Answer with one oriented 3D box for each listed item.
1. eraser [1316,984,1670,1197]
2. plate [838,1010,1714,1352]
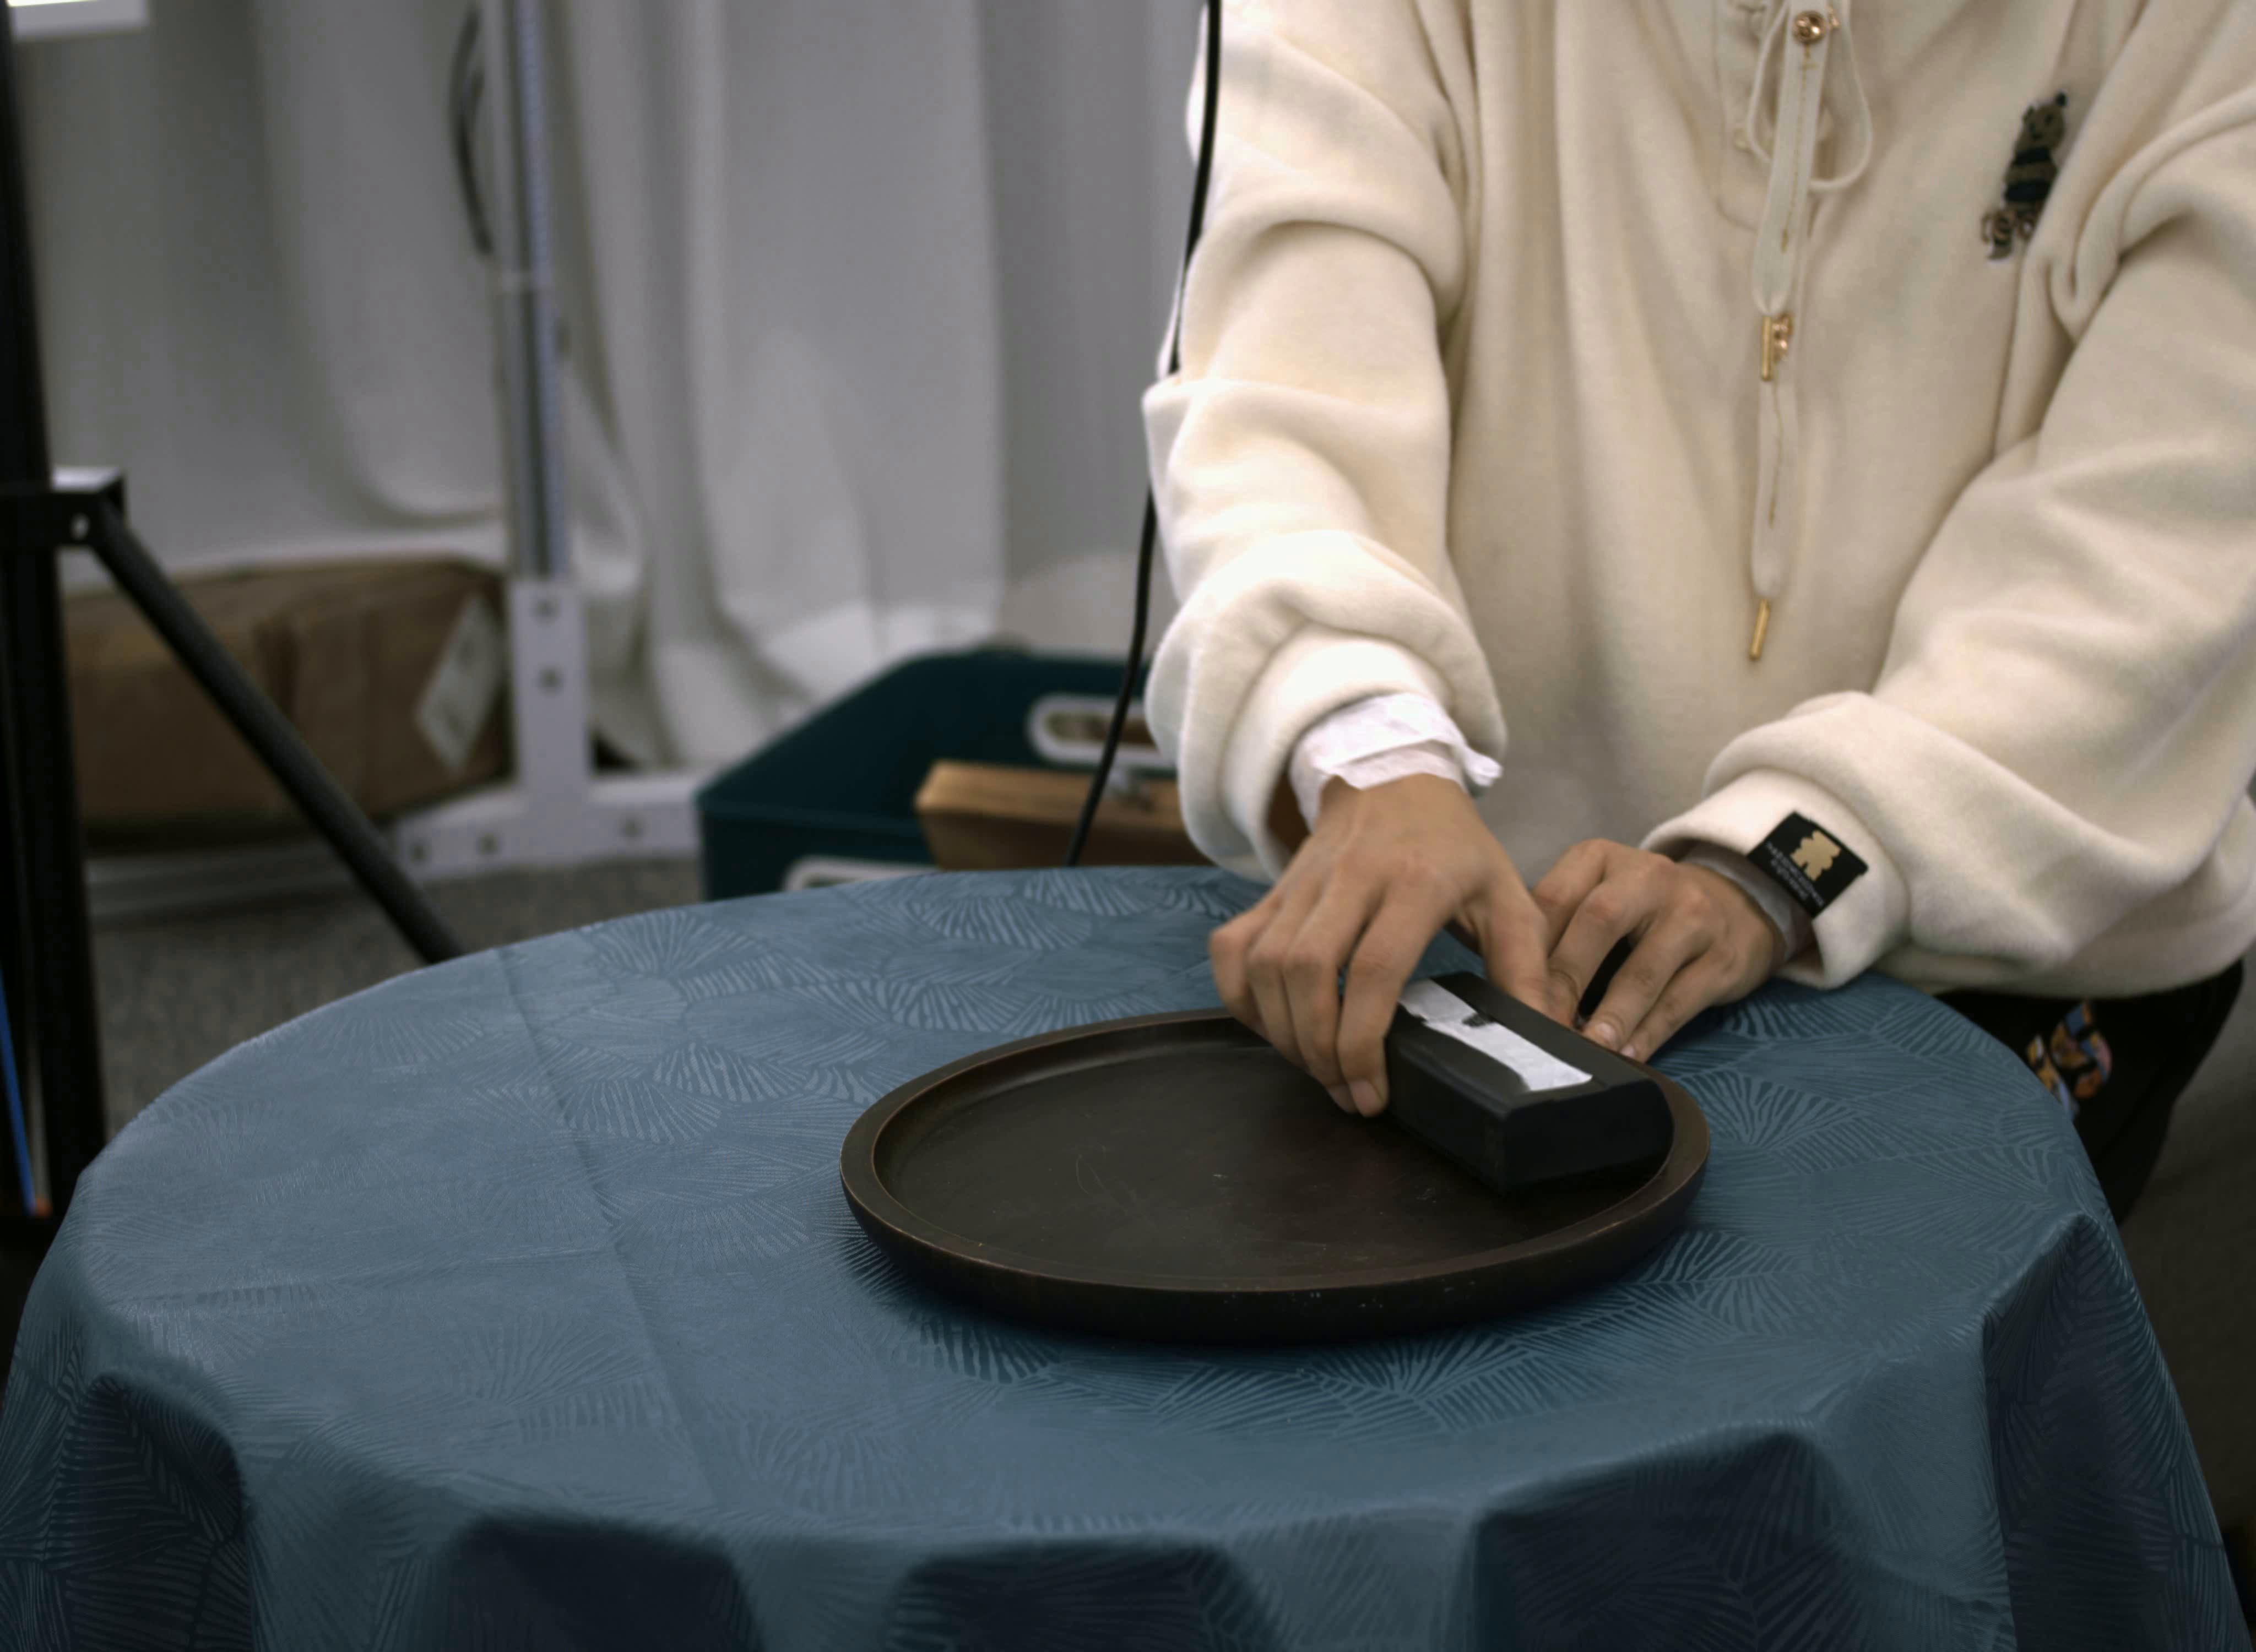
[{"bbox_3d":[0.106,0.077,1.553,0.052,0.030,0.128,-8,15,-23],"label":"eraser"},{"bbox_3d":[0.043,0.099,1.536,0.253,0.029,0.256,-4,17,0],"label":"plate"}]
